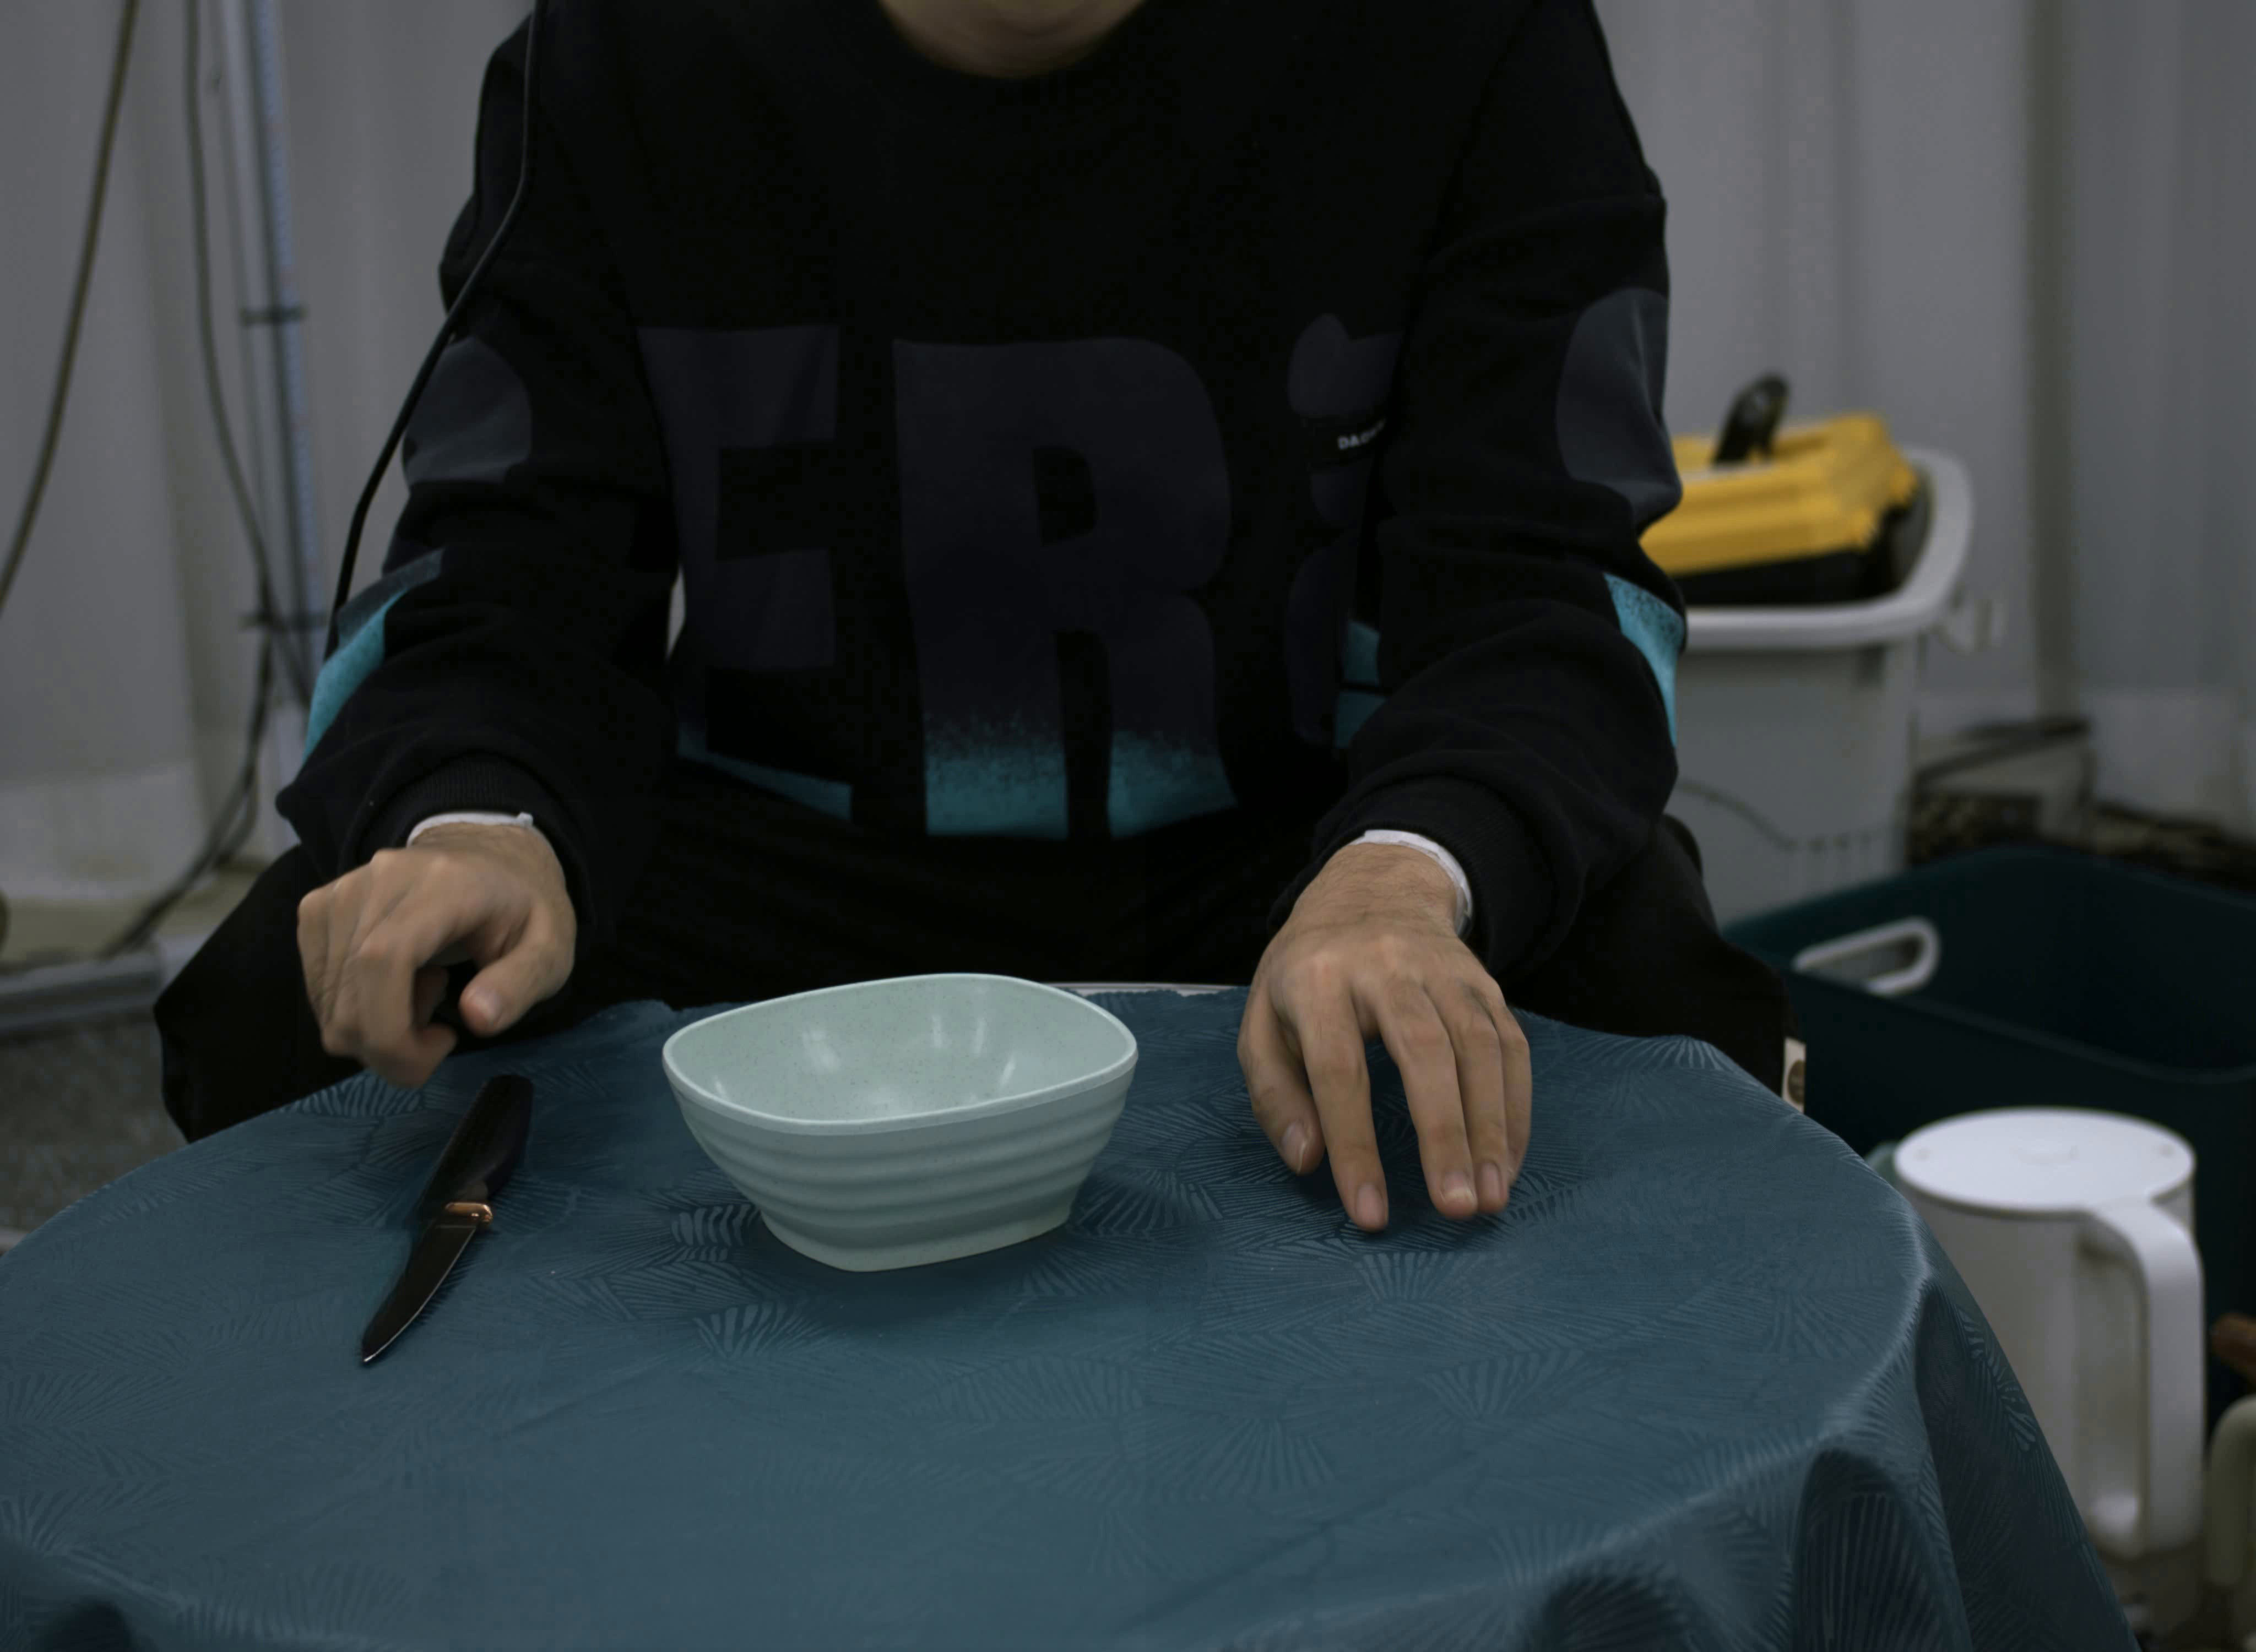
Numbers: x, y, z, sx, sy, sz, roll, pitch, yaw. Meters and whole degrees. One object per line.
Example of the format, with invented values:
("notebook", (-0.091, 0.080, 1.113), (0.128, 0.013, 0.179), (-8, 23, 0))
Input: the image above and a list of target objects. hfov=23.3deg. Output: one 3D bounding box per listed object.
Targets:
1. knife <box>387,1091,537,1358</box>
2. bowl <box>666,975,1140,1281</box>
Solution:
("knife", (-0.210, 0.123, 1.700), (0.026, 0.017, 0.227), (-4, 16, 5))
("bowl", (-0.068, 0.097, 1.692), (0.151, 0.058, 0.152), (-4, 15, 1))
